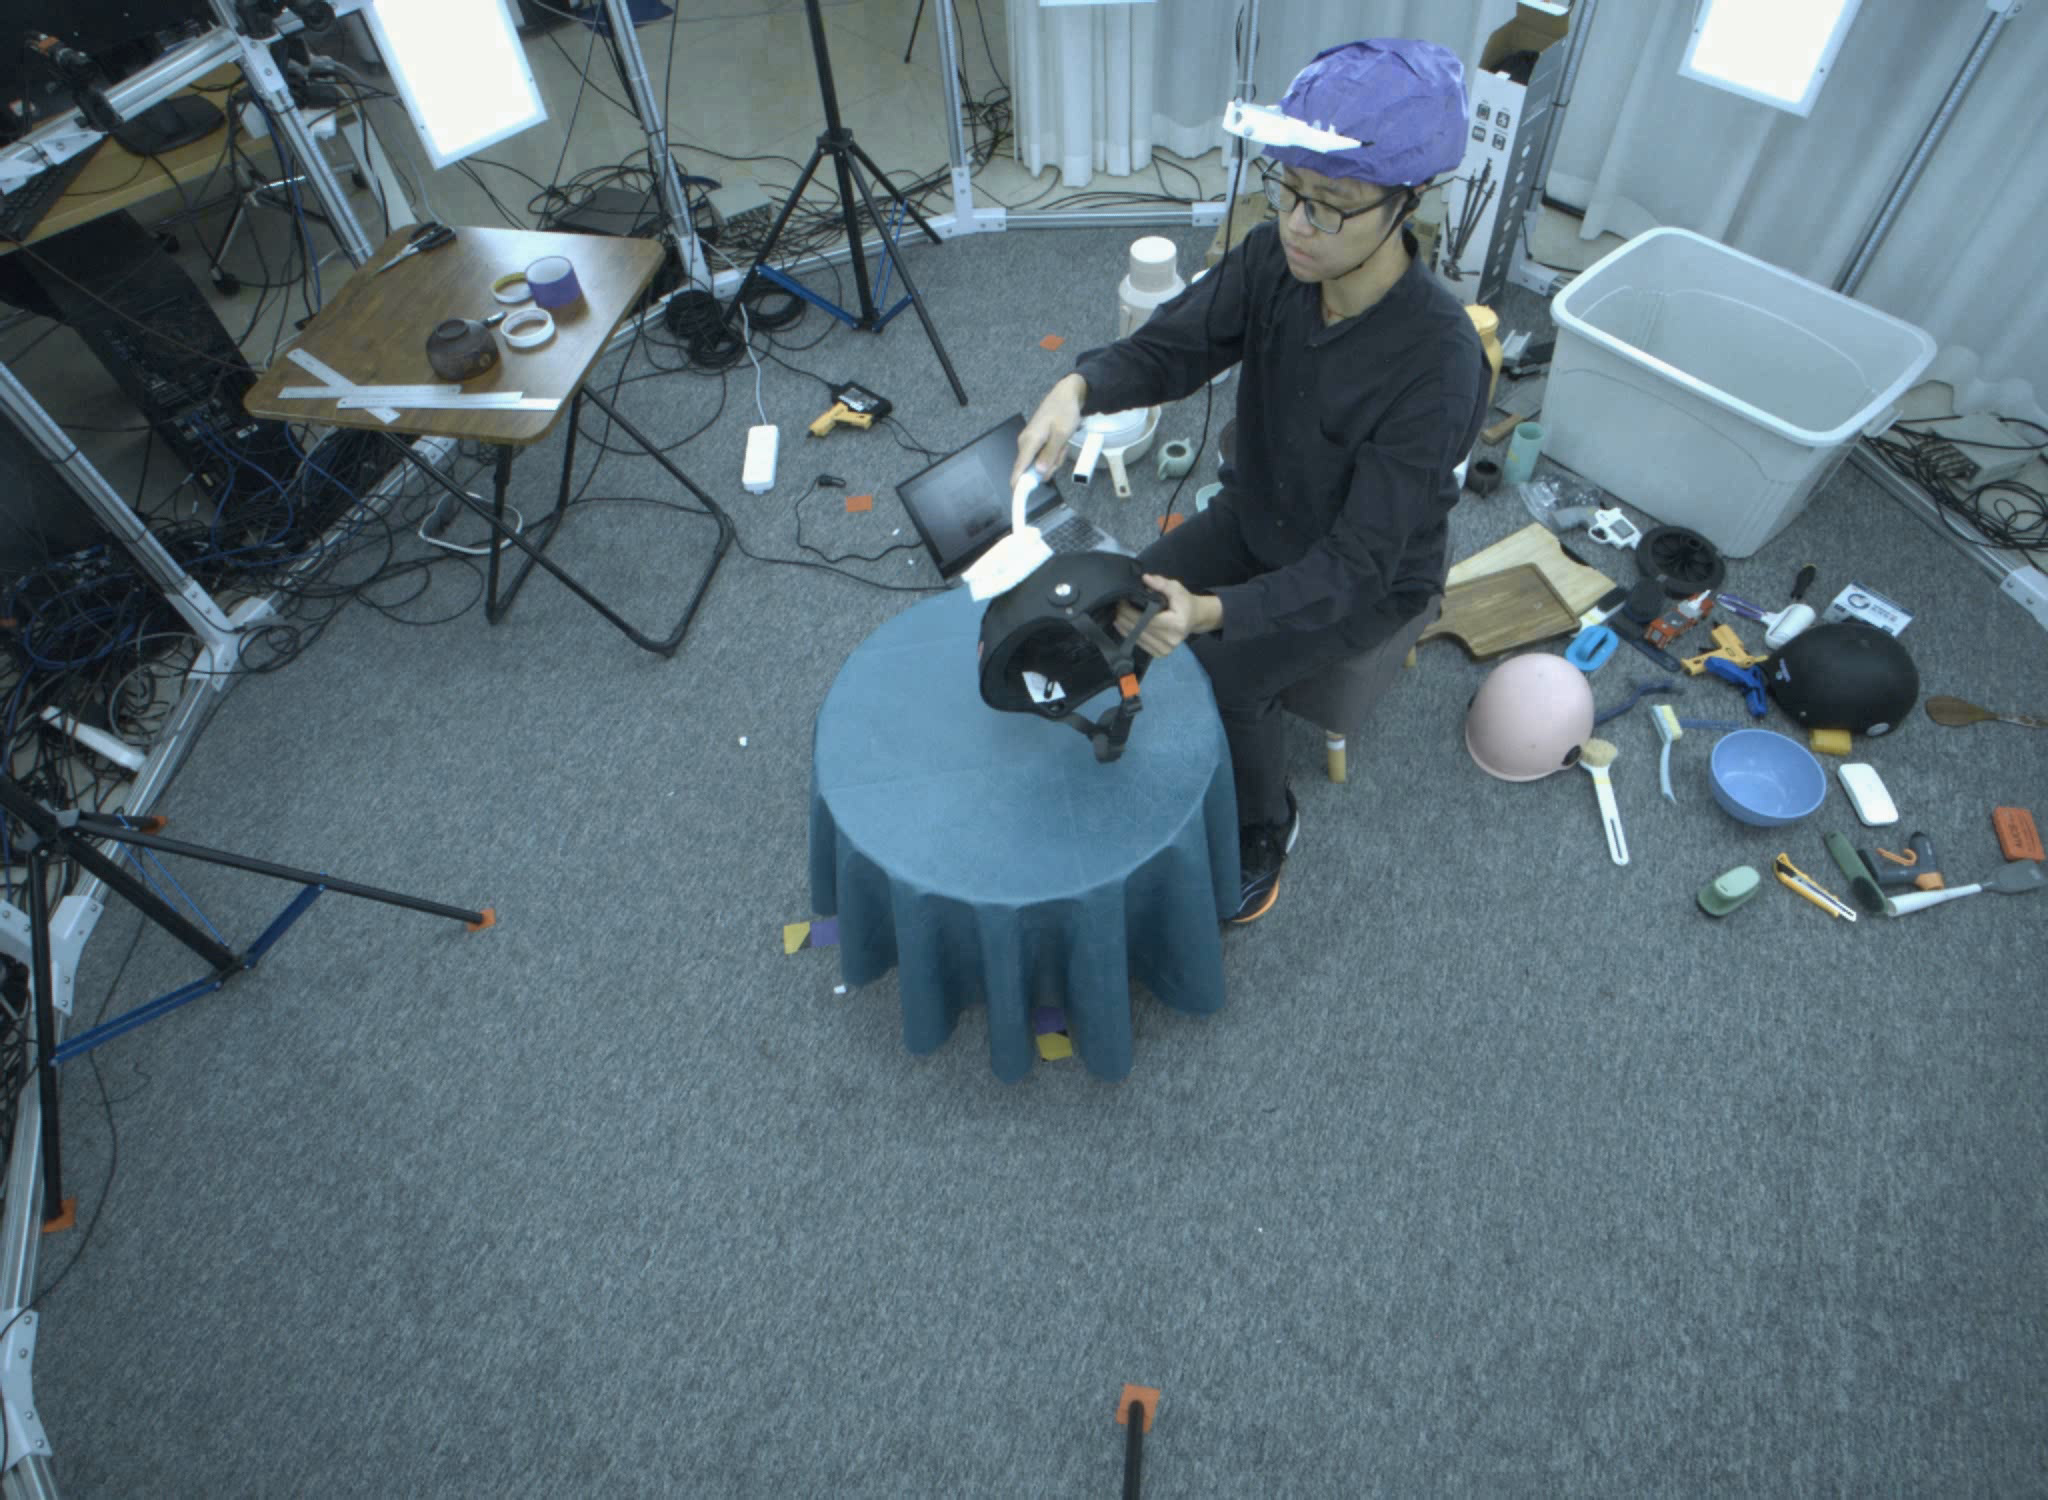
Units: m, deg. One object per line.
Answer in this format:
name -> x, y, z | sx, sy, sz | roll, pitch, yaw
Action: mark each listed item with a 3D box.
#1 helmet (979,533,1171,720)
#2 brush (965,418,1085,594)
helmet -> 0.055, -0.172, 1.629 | 0.279, 0.248, 0.169 | -19, 59, -17
brush -> 0.025, -0.315, 1.611 | 0.082, 0.085, 0.326 | 21, 59, 15
